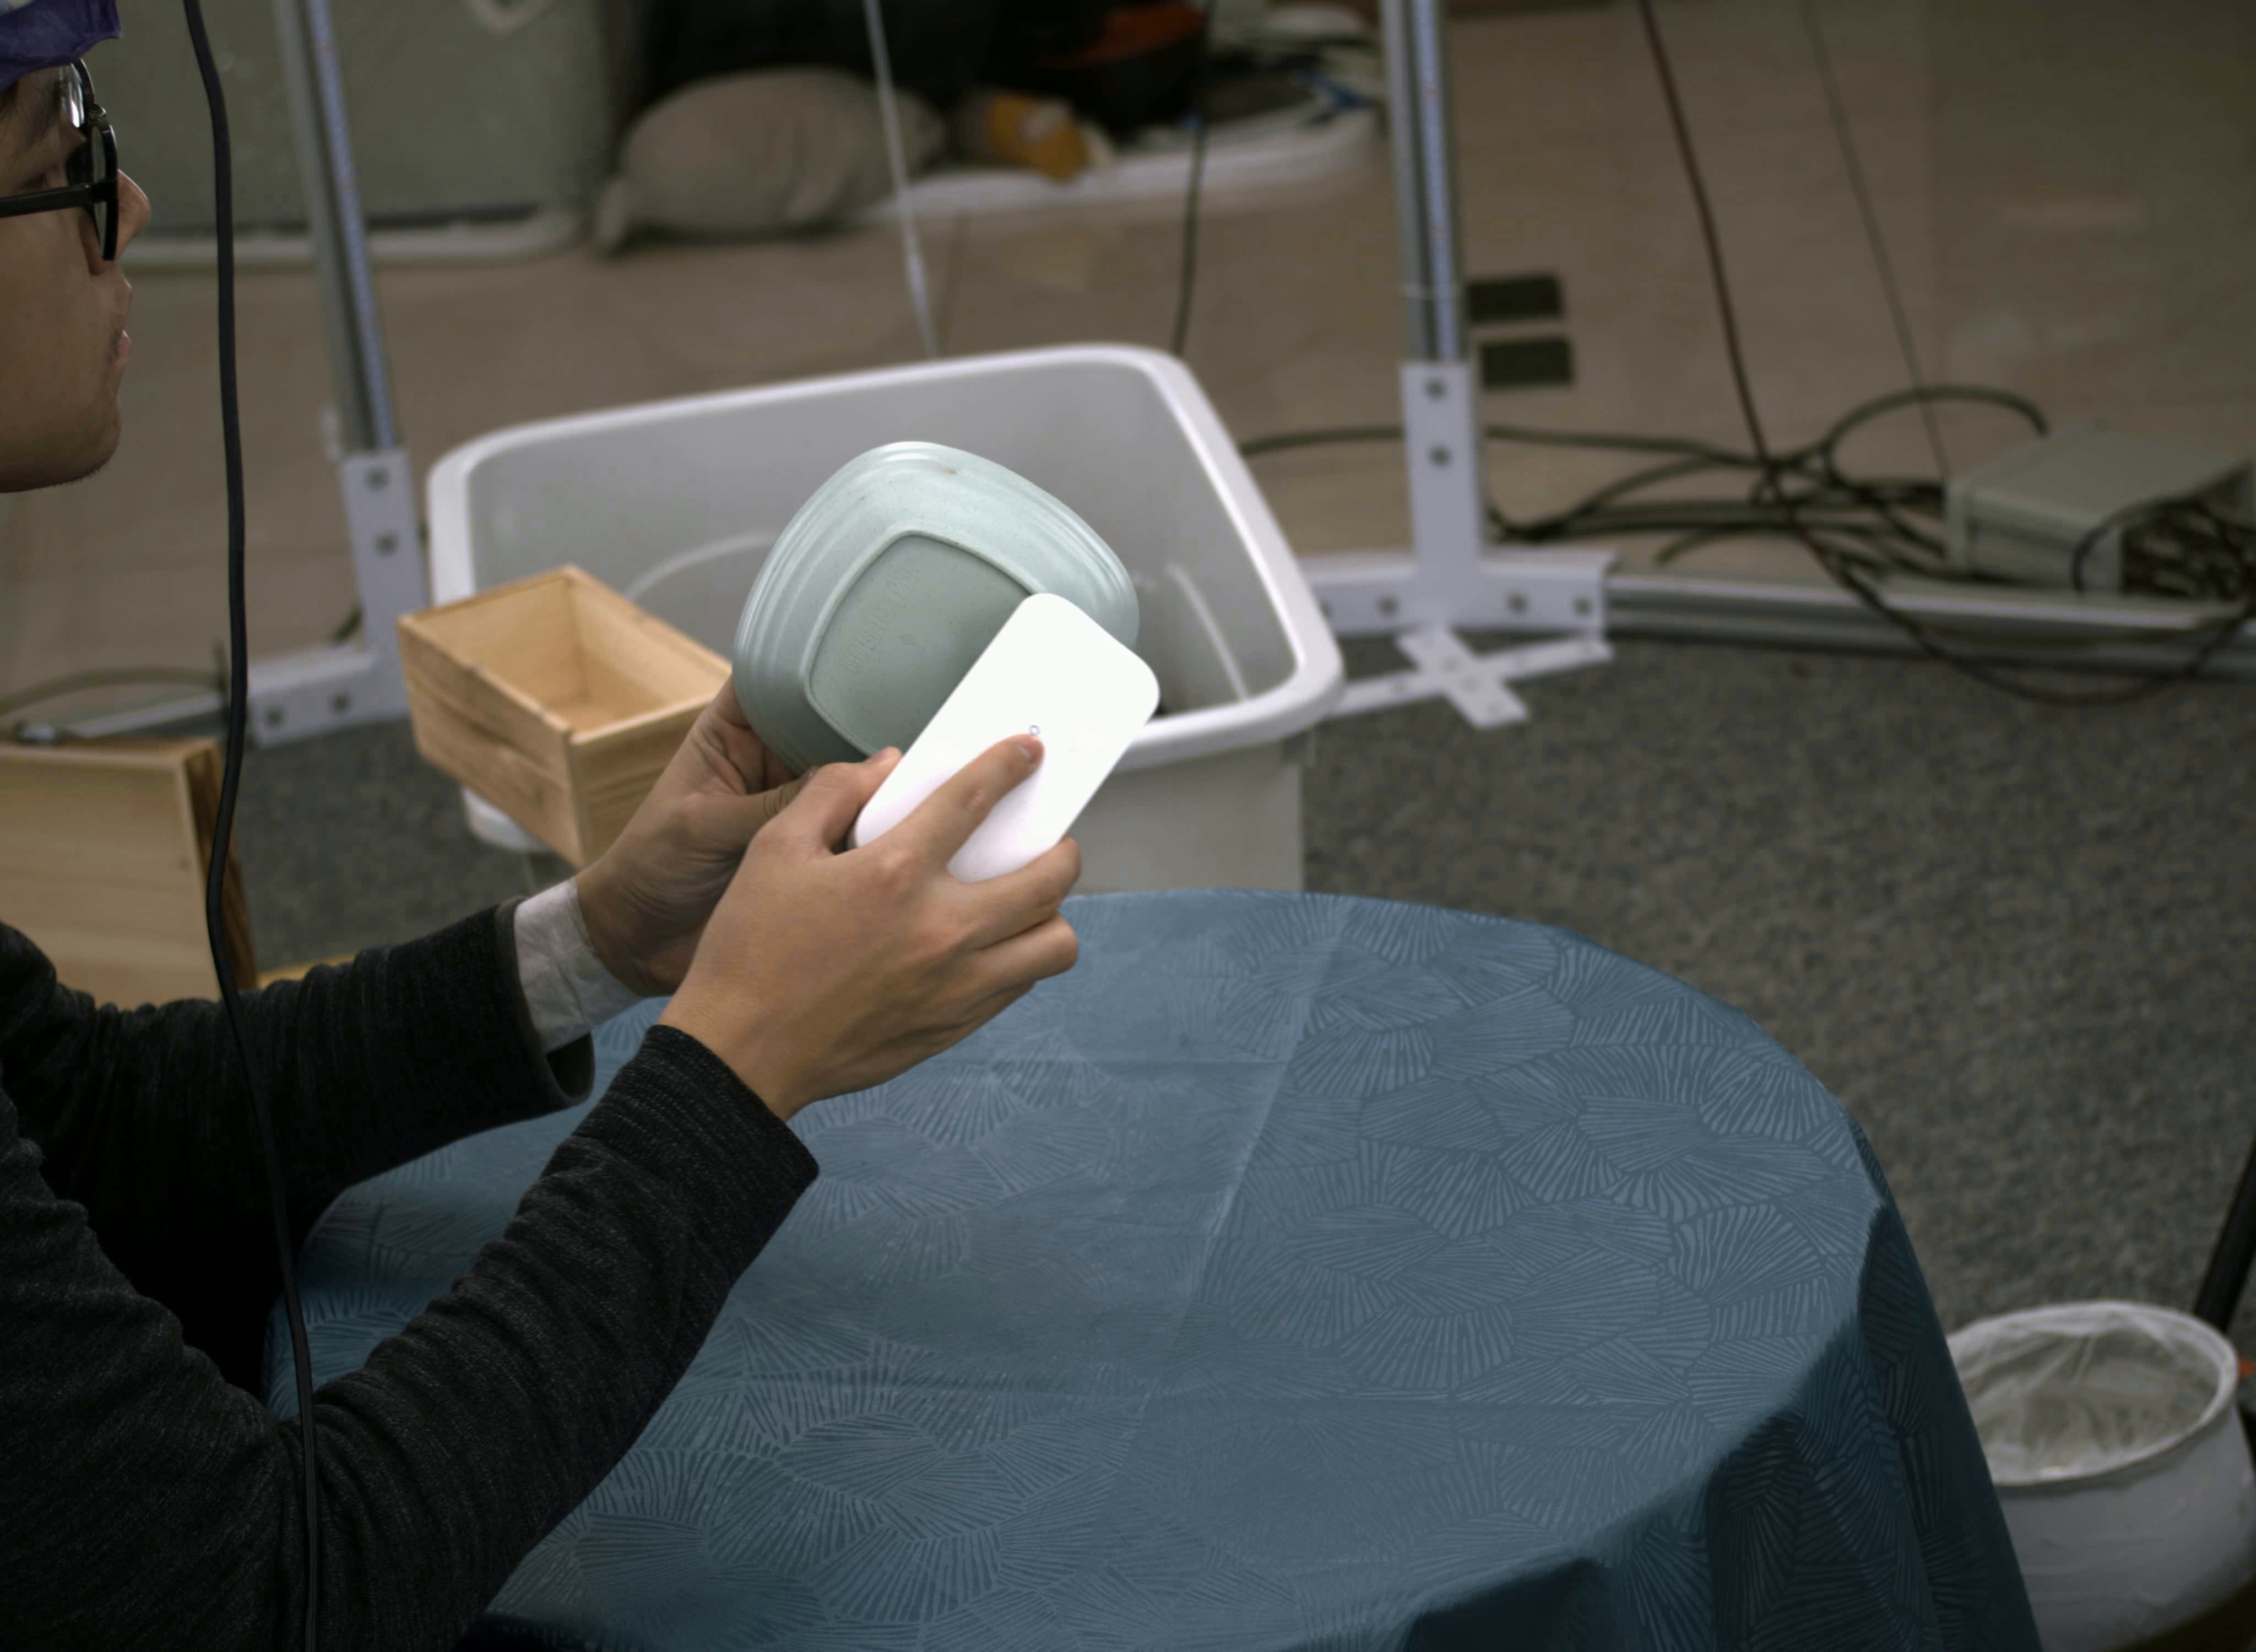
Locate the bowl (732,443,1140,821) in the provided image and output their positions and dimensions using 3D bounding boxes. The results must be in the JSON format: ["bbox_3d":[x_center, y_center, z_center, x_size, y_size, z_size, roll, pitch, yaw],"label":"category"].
[{"bbox_3d":[-0.070,-0.061,2.044,0.151,0.153,0.058,-6,12,0],"label":"bowl"}]

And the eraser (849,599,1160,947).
[{"bbox_3d":[-0.044,-0.020,1.979,0.130,0.063,0.035,-53,4,-28],"label":"eraser"}]
